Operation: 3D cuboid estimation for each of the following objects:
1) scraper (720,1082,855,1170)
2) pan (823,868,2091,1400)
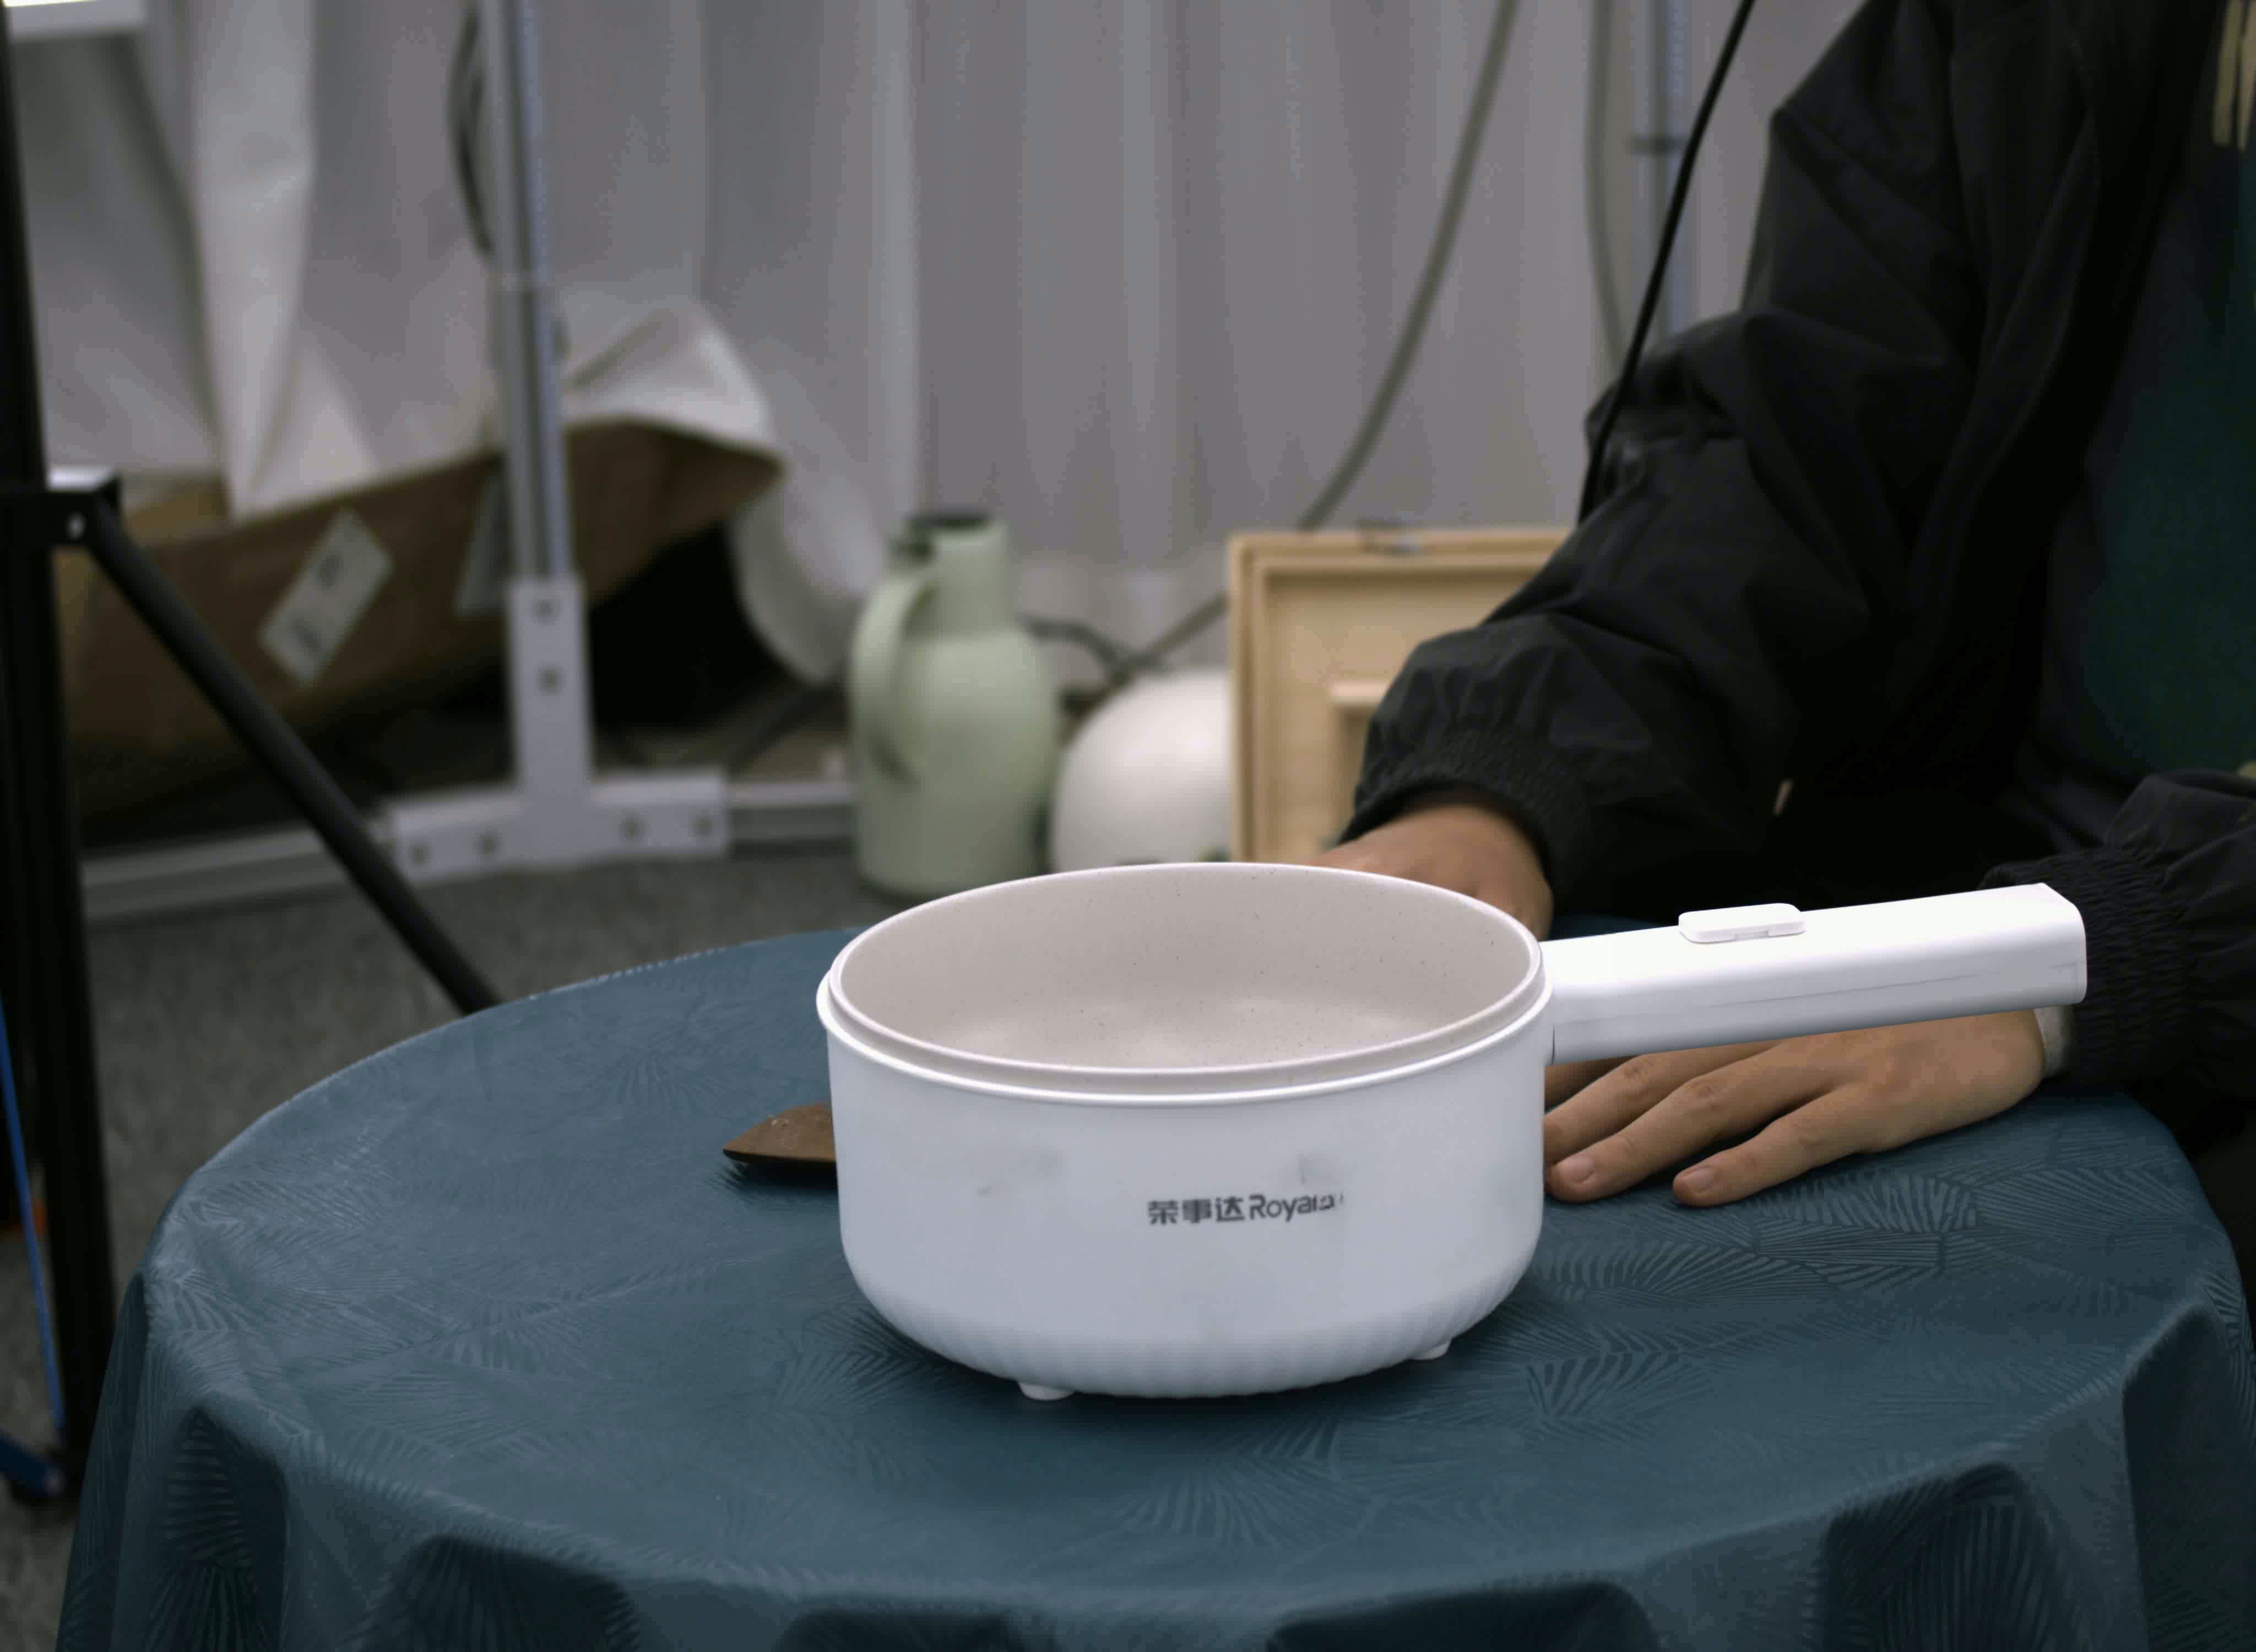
[{"bbox_3d":[-0.066,0.075,1.670,0.076,0.011,0.210,2,16,12],"label":"scraper"},{"bbox_3d":[0.092,0.081,1.466,0.350,0.102,0.203,-3,15,-10],"label":"pan"}]
